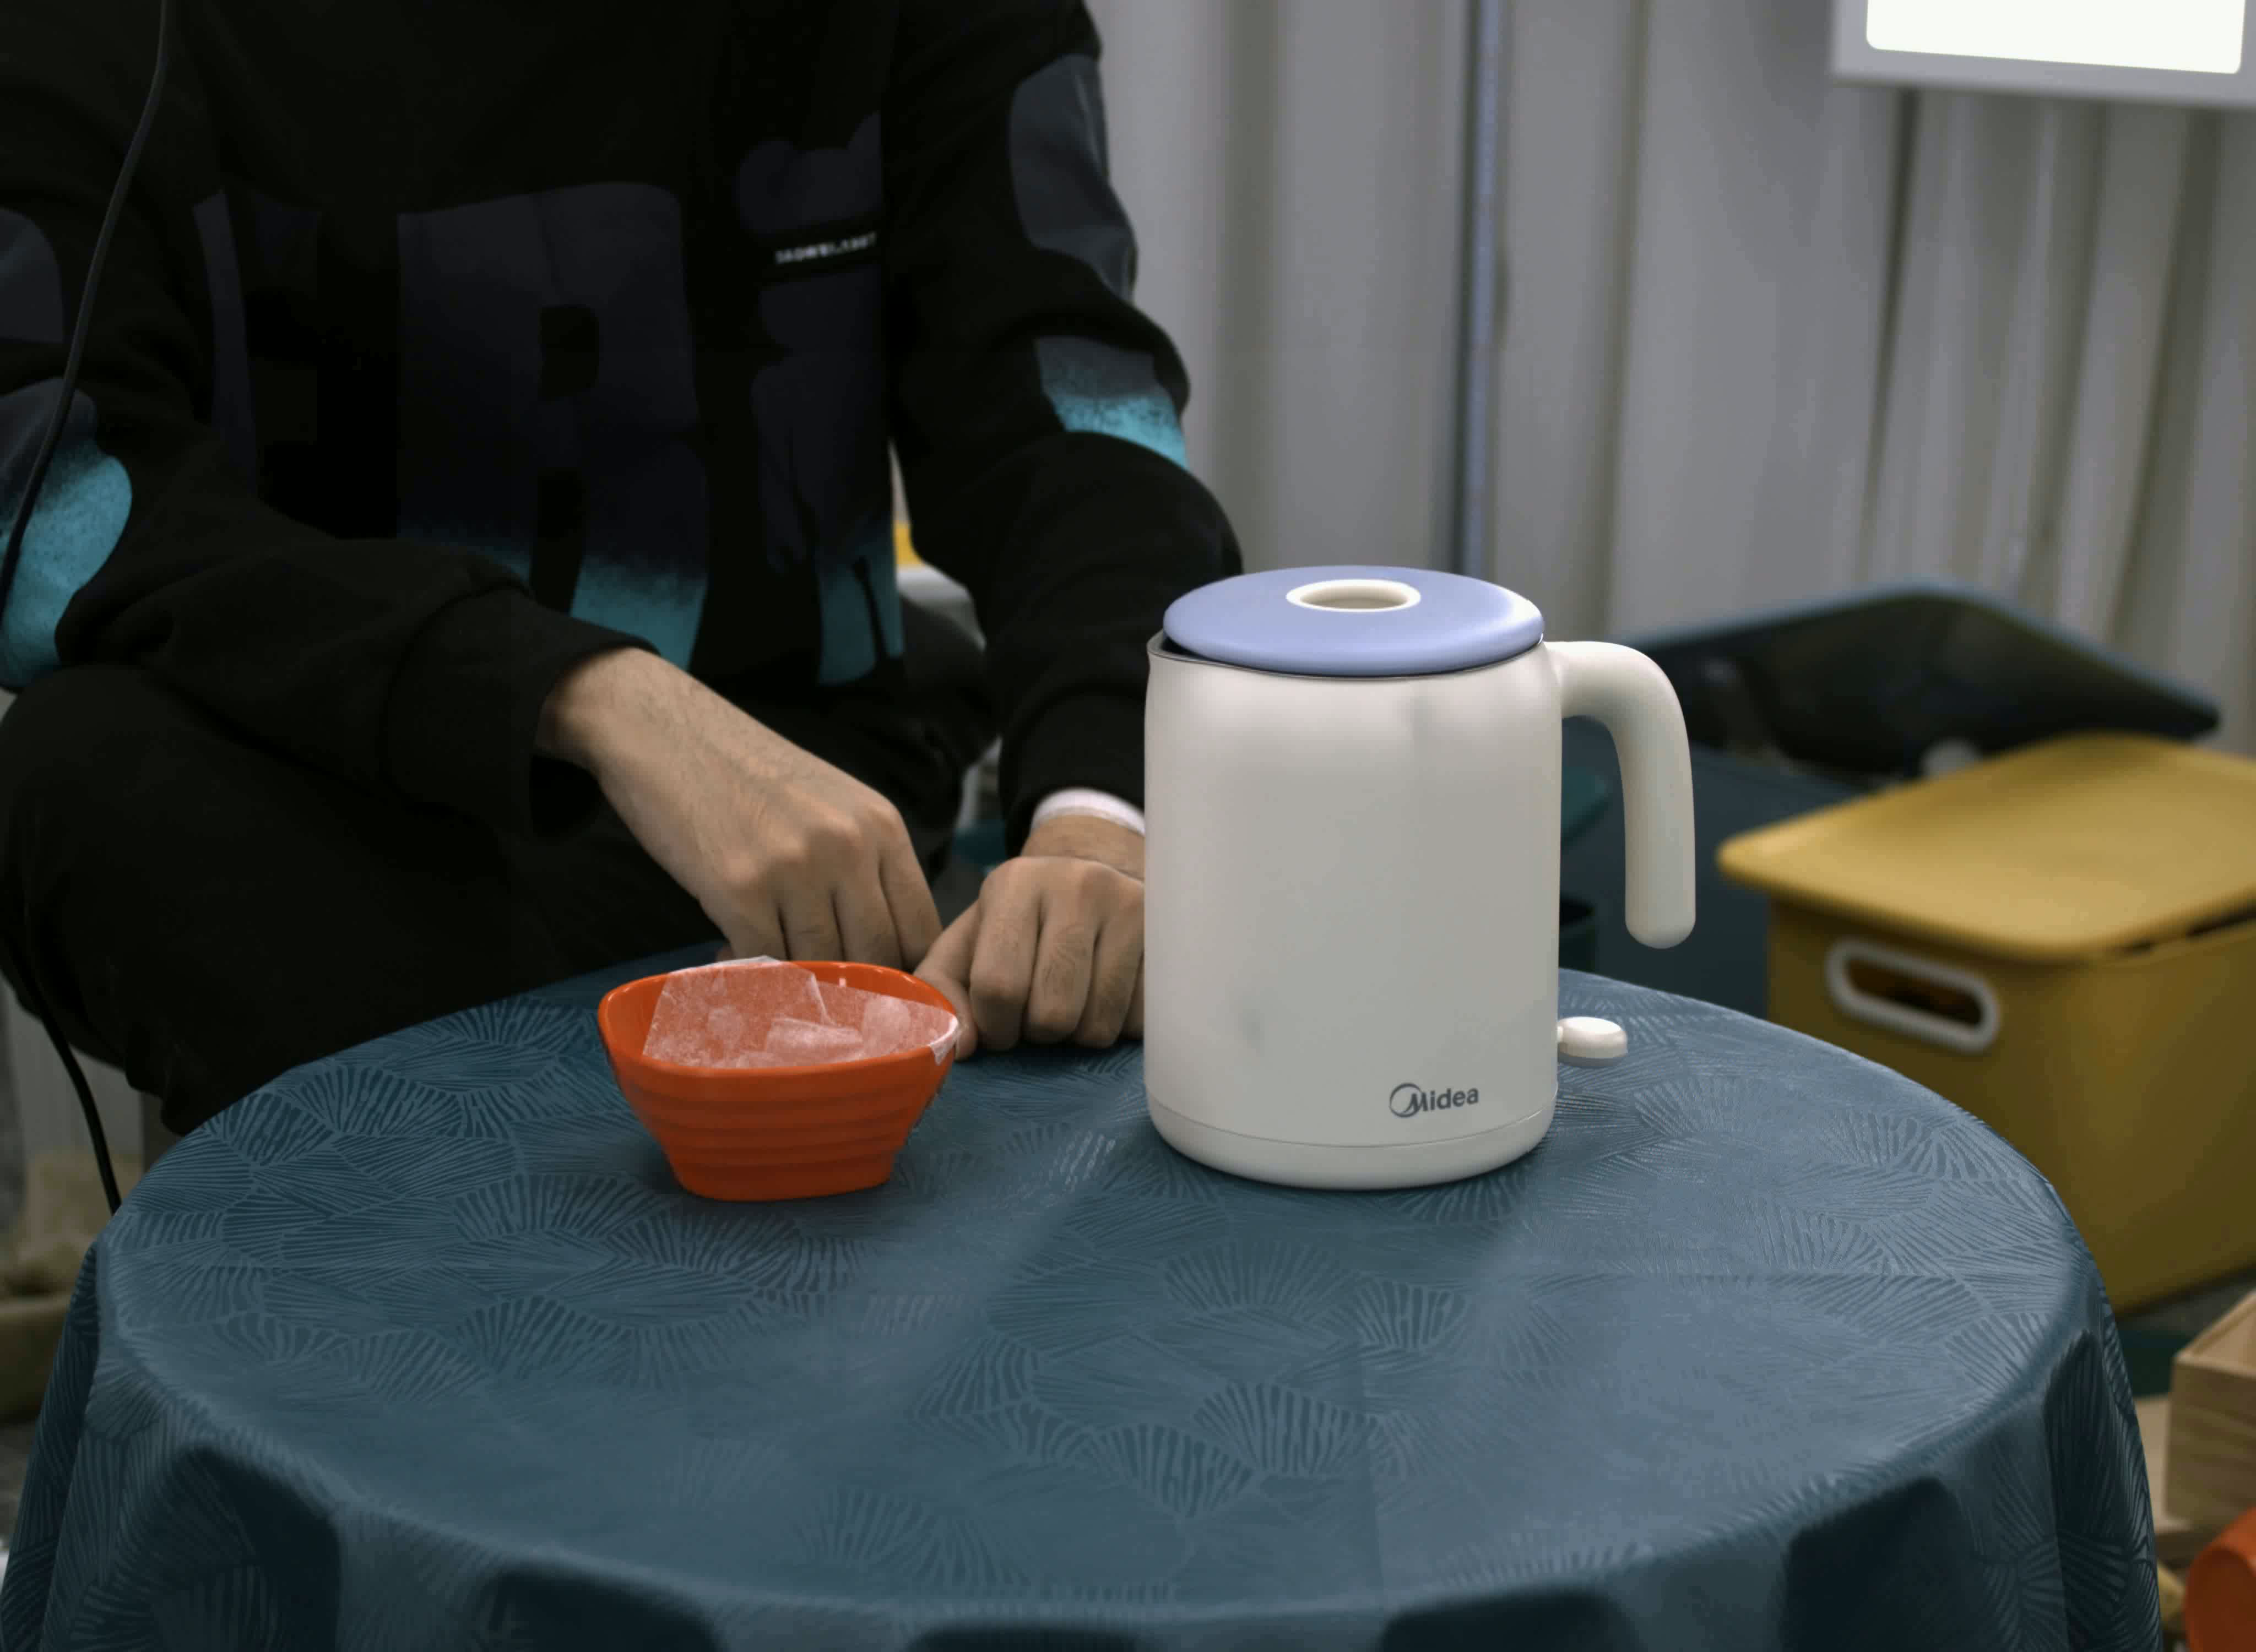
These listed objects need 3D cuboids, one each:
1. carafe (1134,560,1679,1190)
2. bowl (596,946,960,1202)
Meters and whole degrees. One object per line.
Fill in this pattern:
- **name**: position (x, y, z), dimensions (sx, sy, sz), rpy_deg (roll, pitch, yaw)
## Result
- **carafe**: position (0.091, 0.013, 1.663), dimensions (0.192, 0.184, 0.130), rpy_deg (-4, 18, -24)
- **bowl**: position (-0.108, 0.079, 1.633), dimensions (0.118, 0.052, 0.118), rpy_deg (0, 19, 1)
